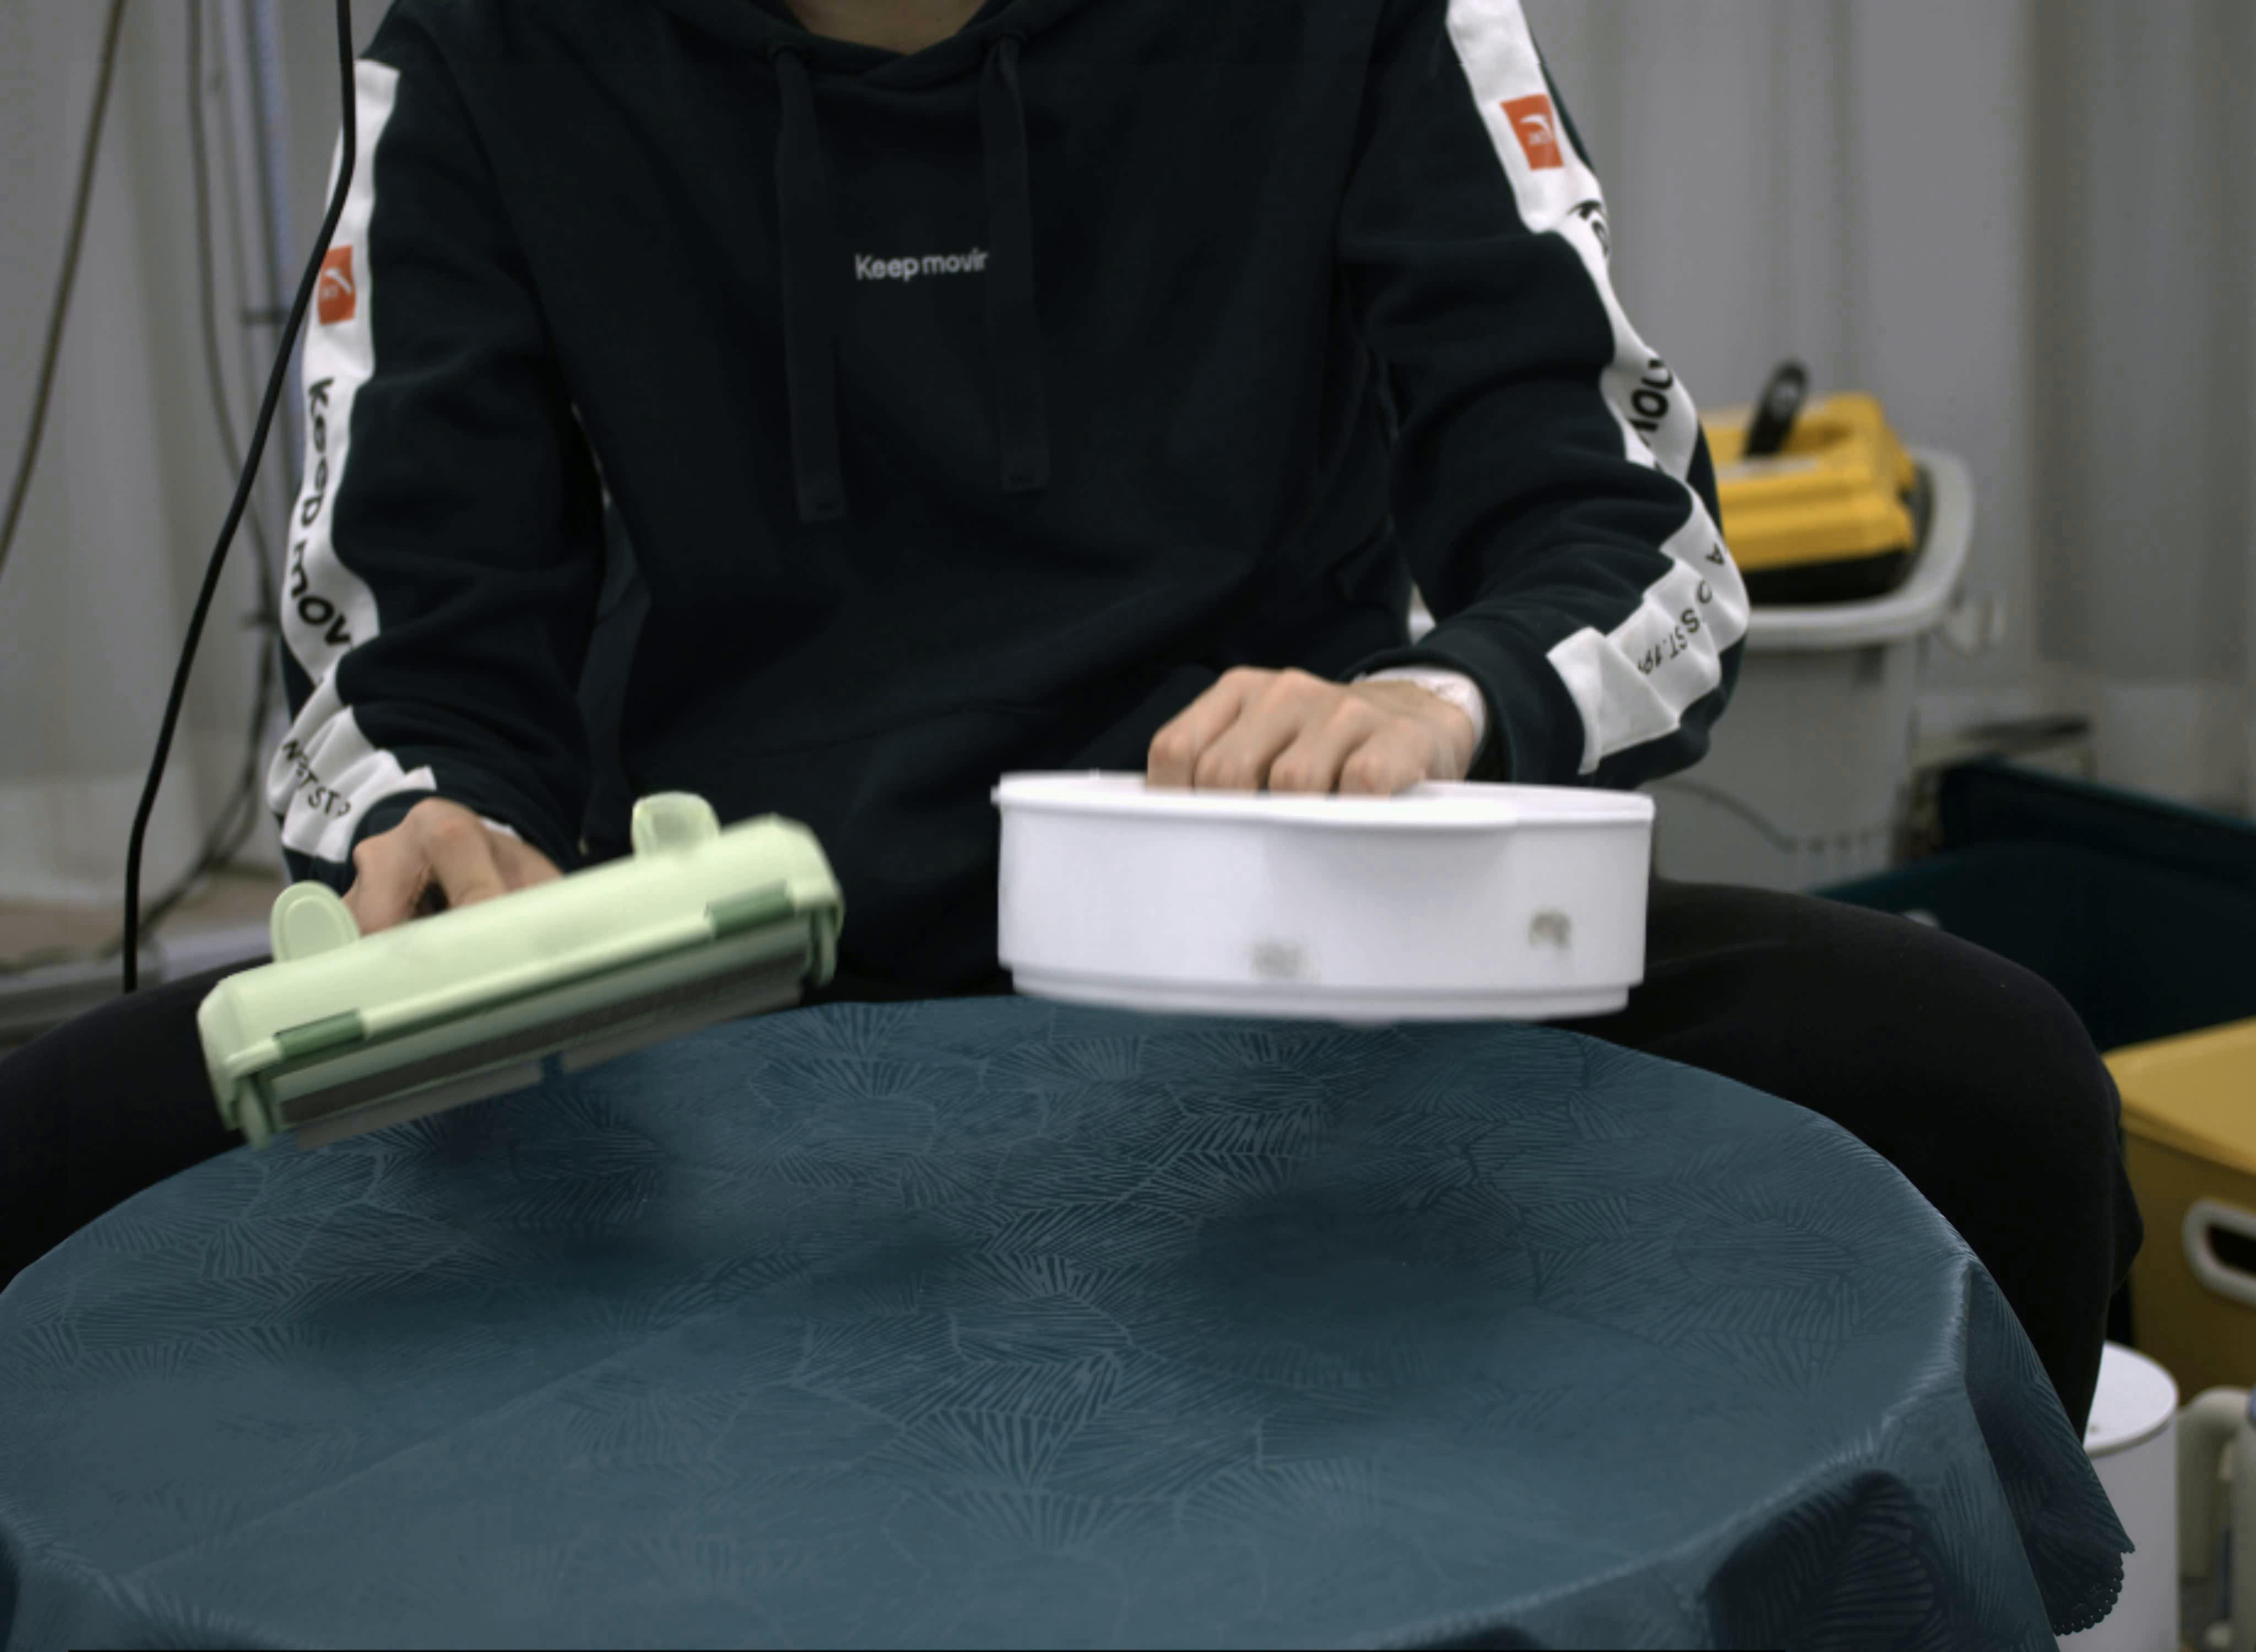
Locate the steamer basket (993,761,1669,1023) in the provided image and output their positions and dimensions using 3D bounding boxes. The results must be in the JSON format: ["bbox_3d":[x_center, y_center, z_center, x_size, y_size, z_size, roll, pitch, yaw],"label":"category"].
[{"bbox_3d":[0.059,0.019,1.631,0.201,0.069,0.231,1,3,-11],"label":"steamer basket"}]

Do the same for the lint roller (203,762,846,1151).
[{"bbox_3d":[-0.202,0.028,1.724,0.198,0.082,0.184,-18,16,-15],"label":"lint roller"}]
